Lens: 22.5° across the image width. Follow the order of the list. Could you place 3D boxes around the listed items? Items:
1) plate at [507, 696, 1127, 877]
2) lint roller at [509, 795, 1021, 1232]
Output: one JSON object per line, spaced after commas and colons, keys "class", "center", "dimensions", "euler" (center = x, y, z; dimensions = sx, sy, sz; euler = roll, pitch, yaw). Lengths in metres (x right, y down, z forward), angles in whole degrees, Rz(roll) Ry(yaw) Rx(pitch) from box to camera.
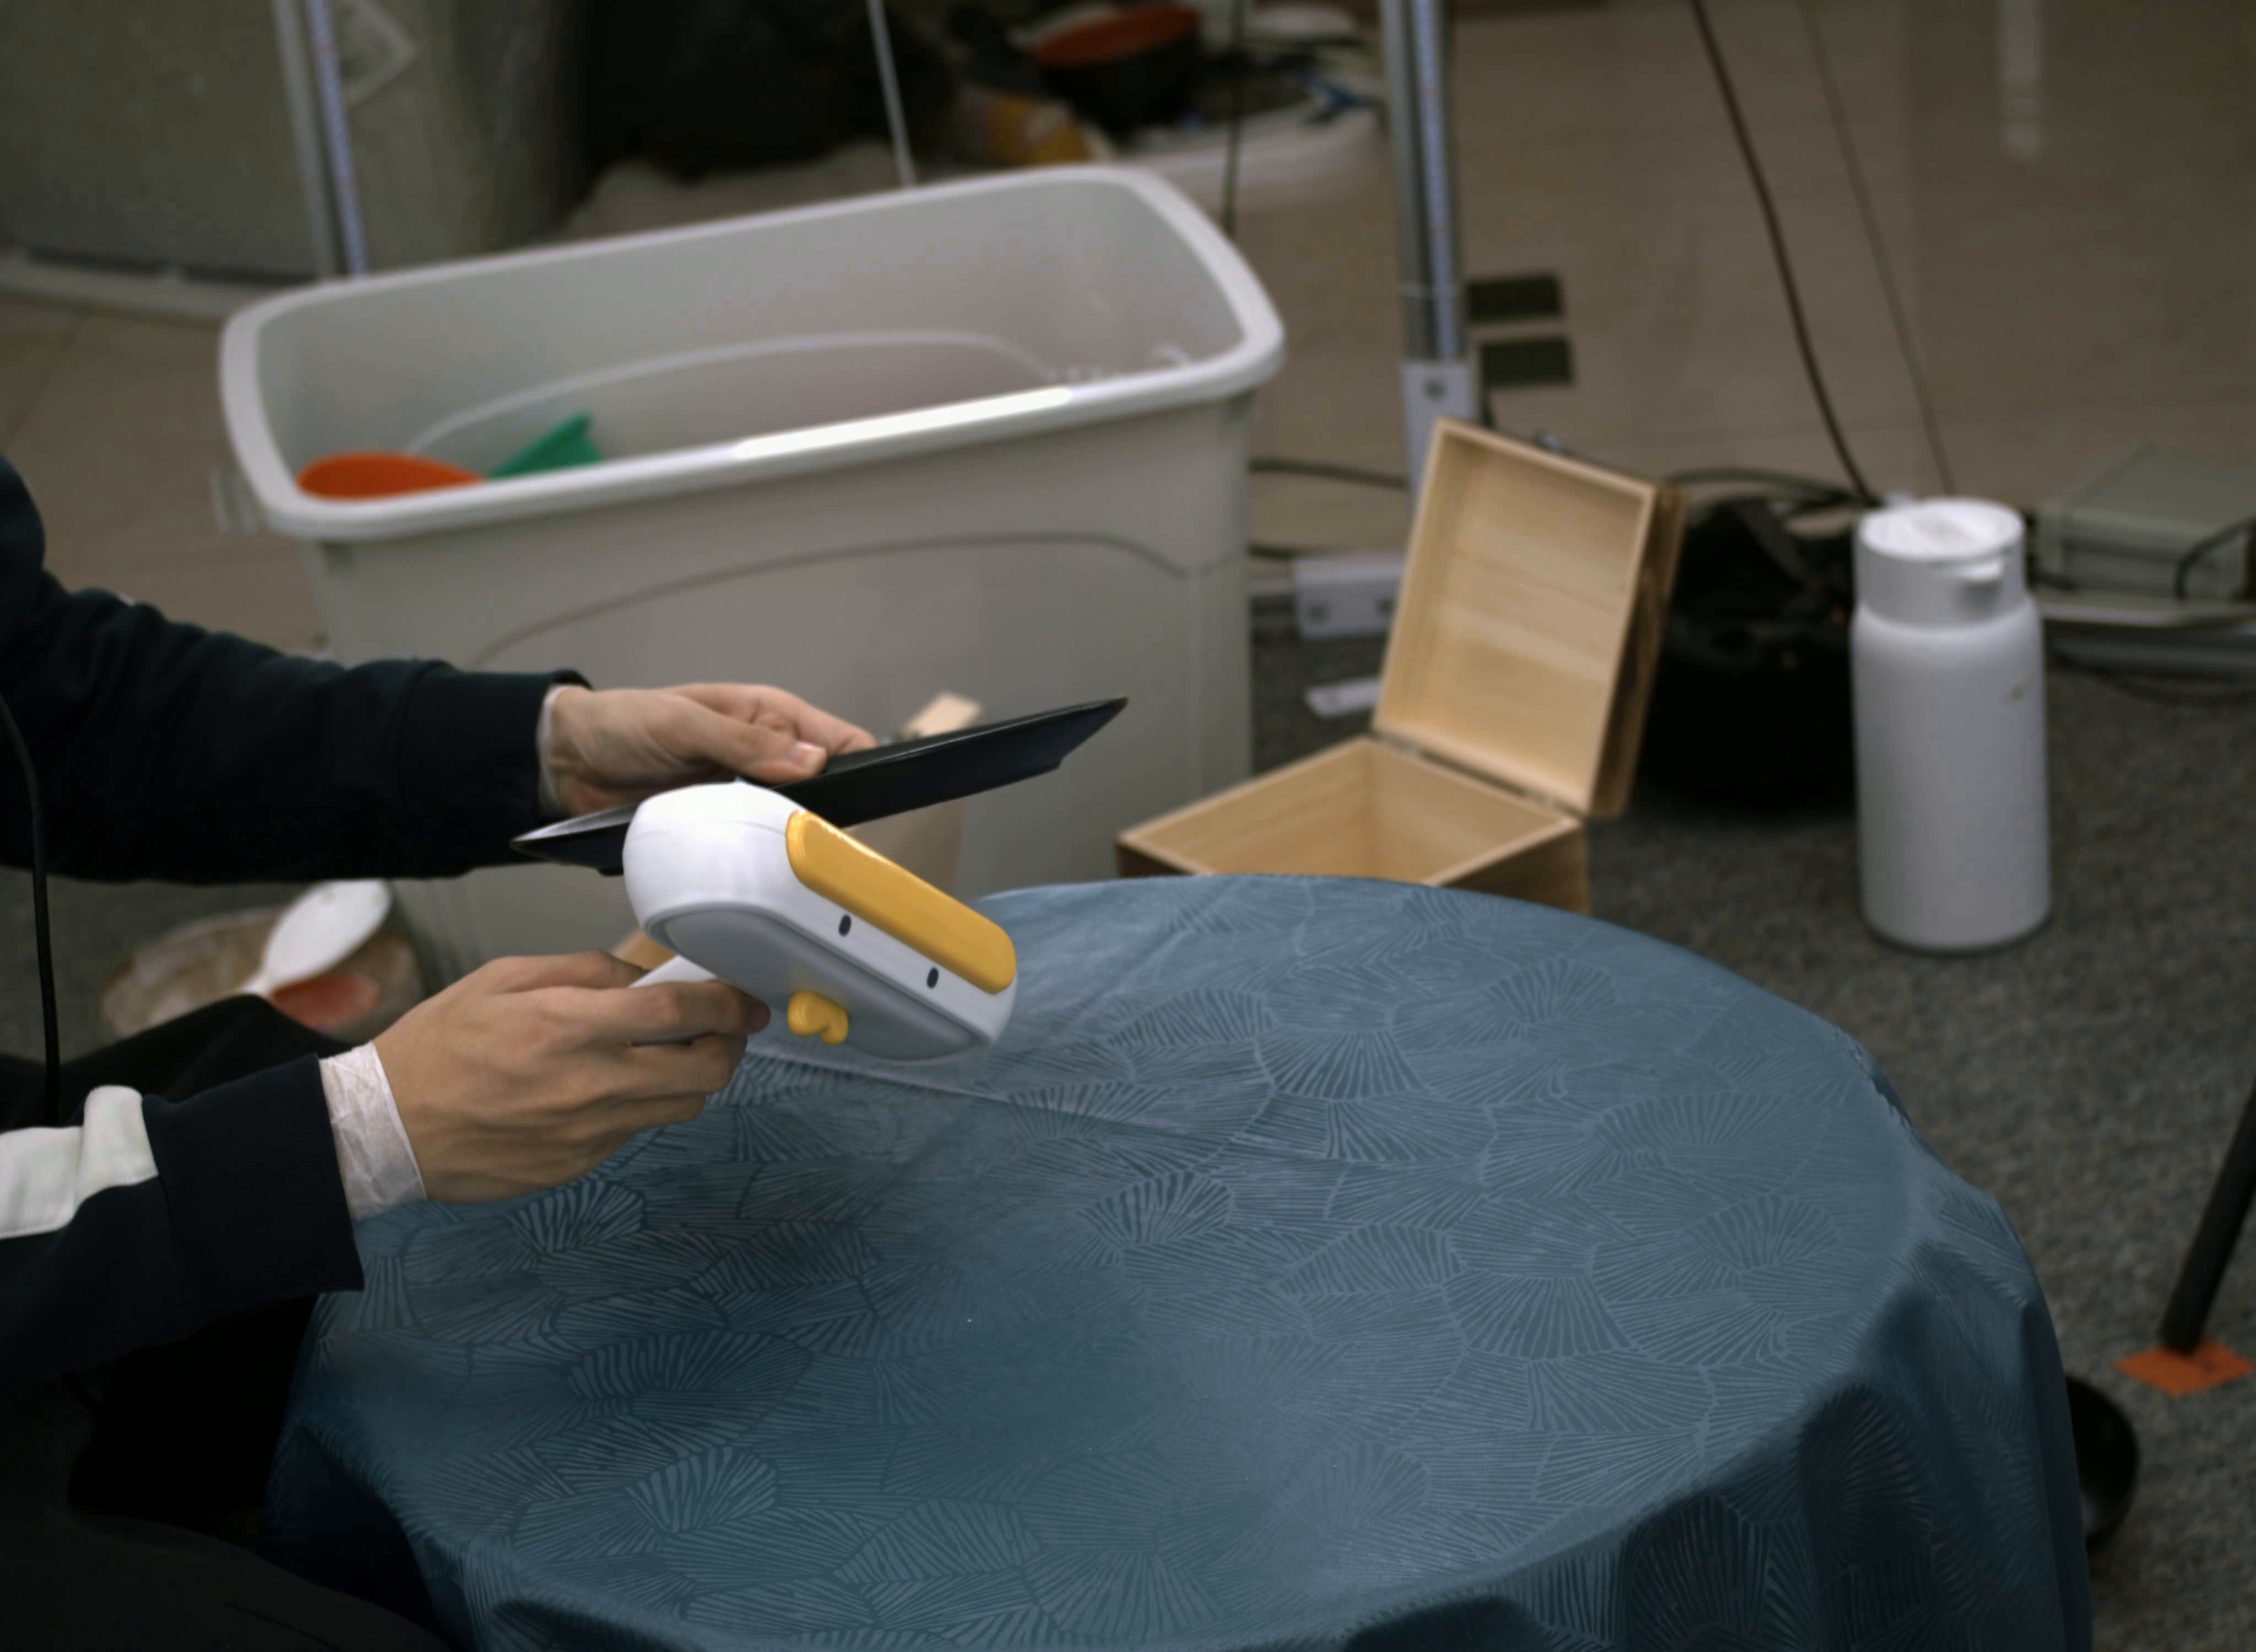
{"class": "plate", "center": [-0.116, -0.011, 2.161], "dimensions": [0.244, 0.023, 0.244], "euler": [-13, 3, 1]}
{"class": "lint roller", "center": [-0.154, 0.076, 2.051], "dimensions": [0.194, 0.194, 0.073], "euler": [-34, 58, 25]}
